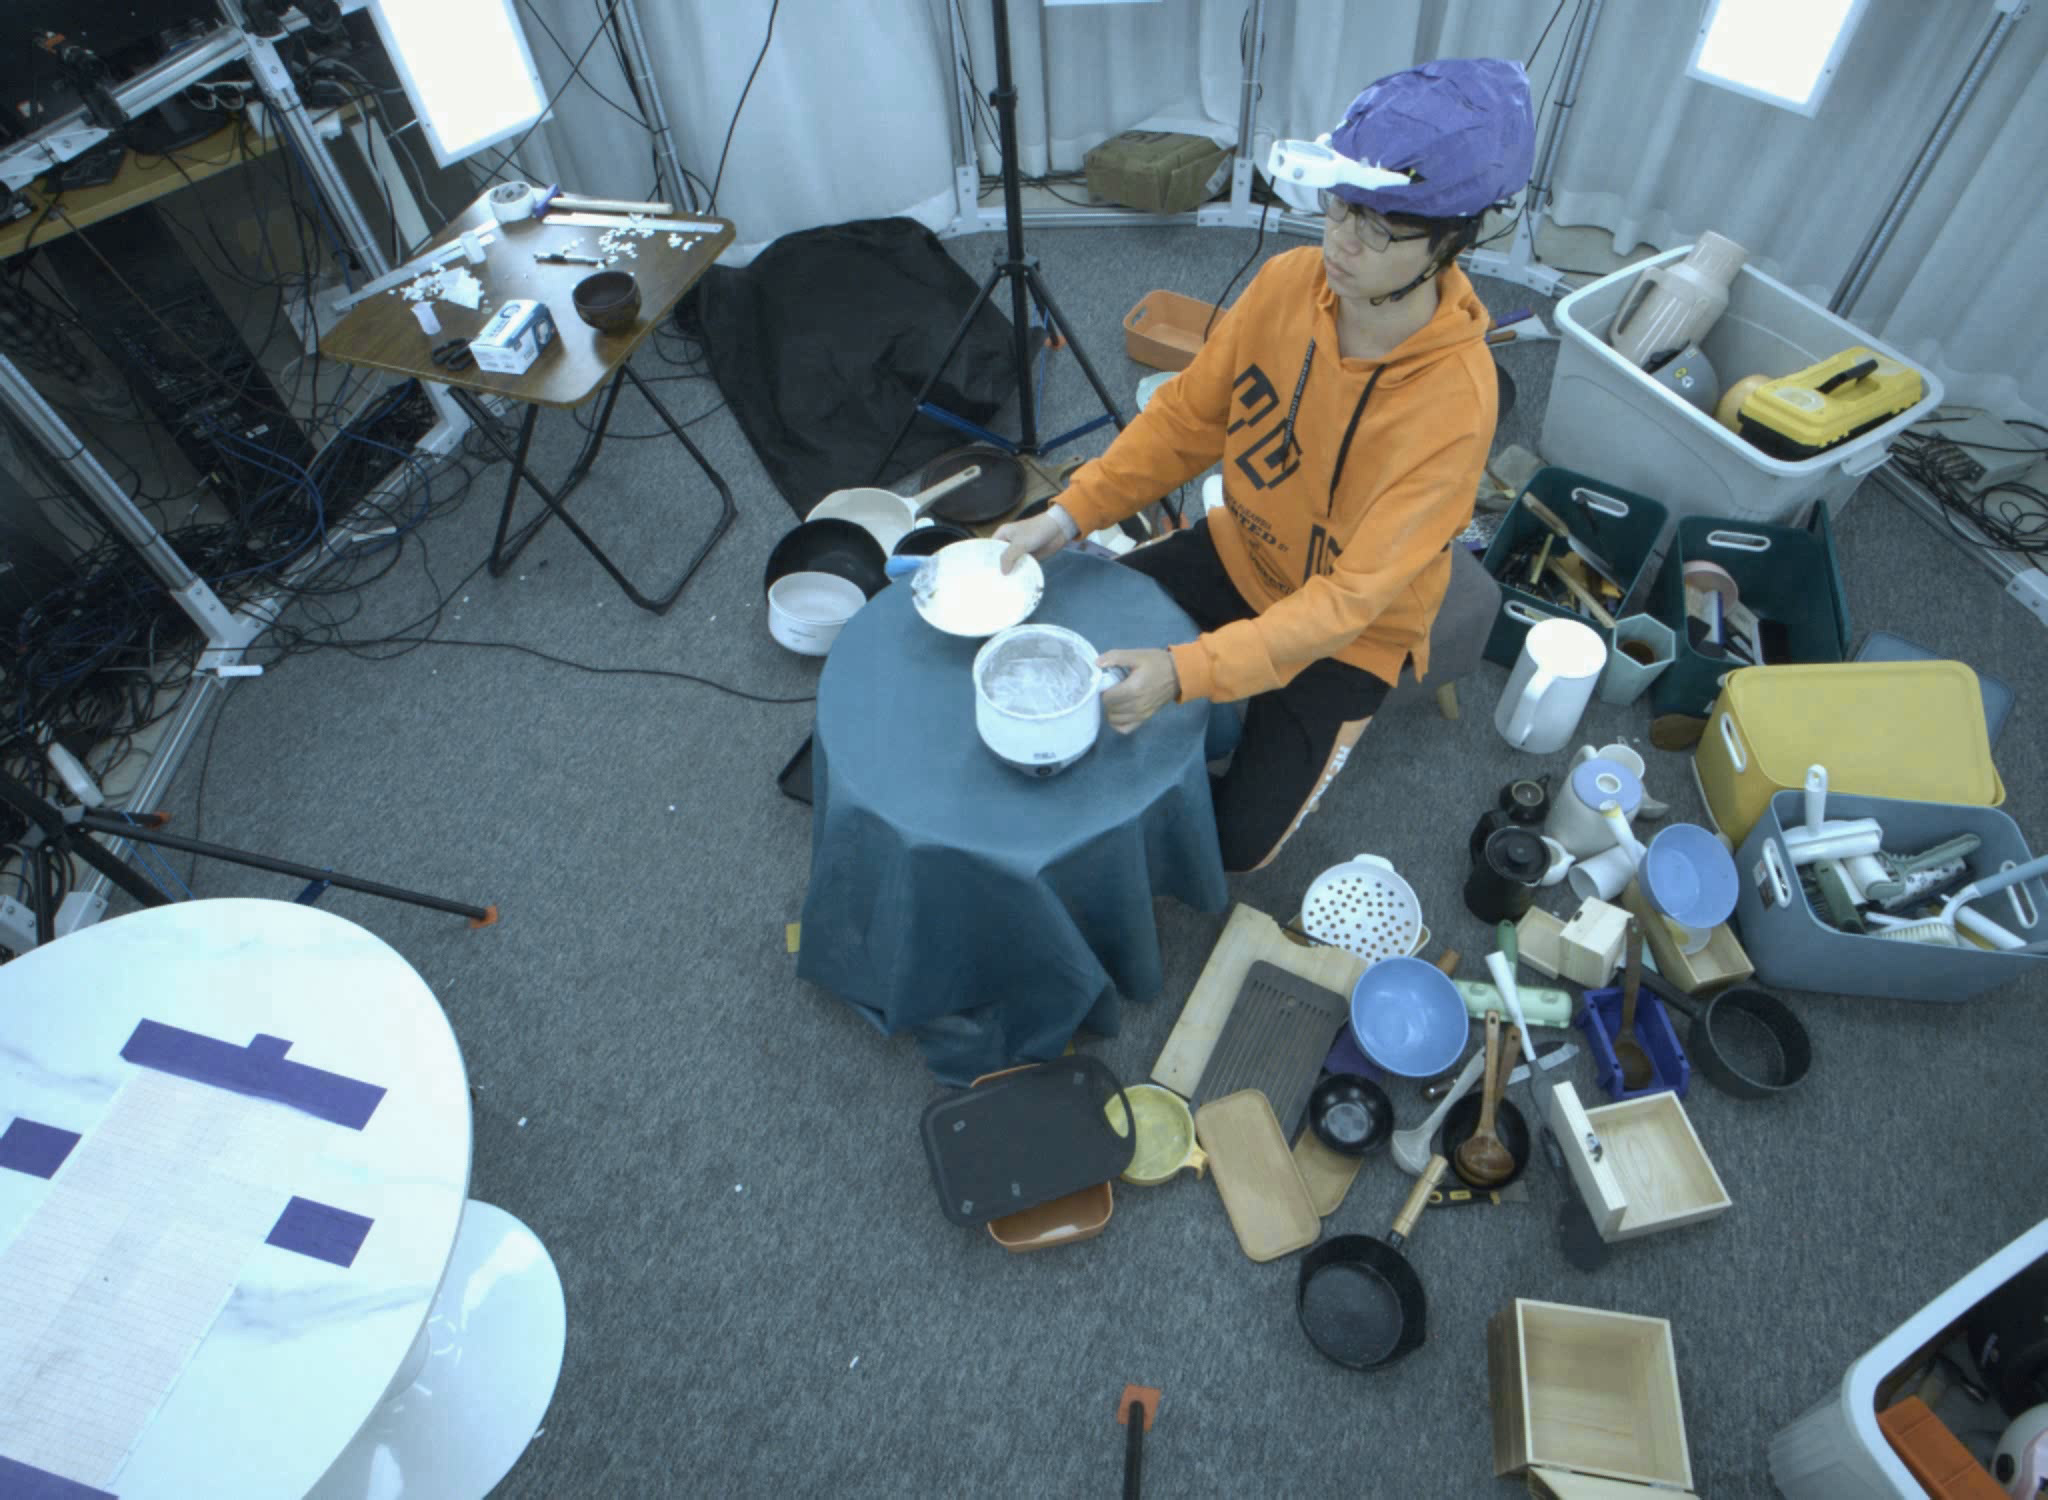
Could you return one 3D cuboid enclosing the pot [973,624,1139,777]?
[{"bbox_3d":[0.047,-0.072,1.730,0.235,0.138,0.176,-6,53,-5],"label":"pot"}]

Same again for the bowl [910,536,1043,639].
[{"bbox_3d":[-0.073,-0.232,1.904,0.204,0.078,0.202,1,57,0],"label":"bowl"}]
